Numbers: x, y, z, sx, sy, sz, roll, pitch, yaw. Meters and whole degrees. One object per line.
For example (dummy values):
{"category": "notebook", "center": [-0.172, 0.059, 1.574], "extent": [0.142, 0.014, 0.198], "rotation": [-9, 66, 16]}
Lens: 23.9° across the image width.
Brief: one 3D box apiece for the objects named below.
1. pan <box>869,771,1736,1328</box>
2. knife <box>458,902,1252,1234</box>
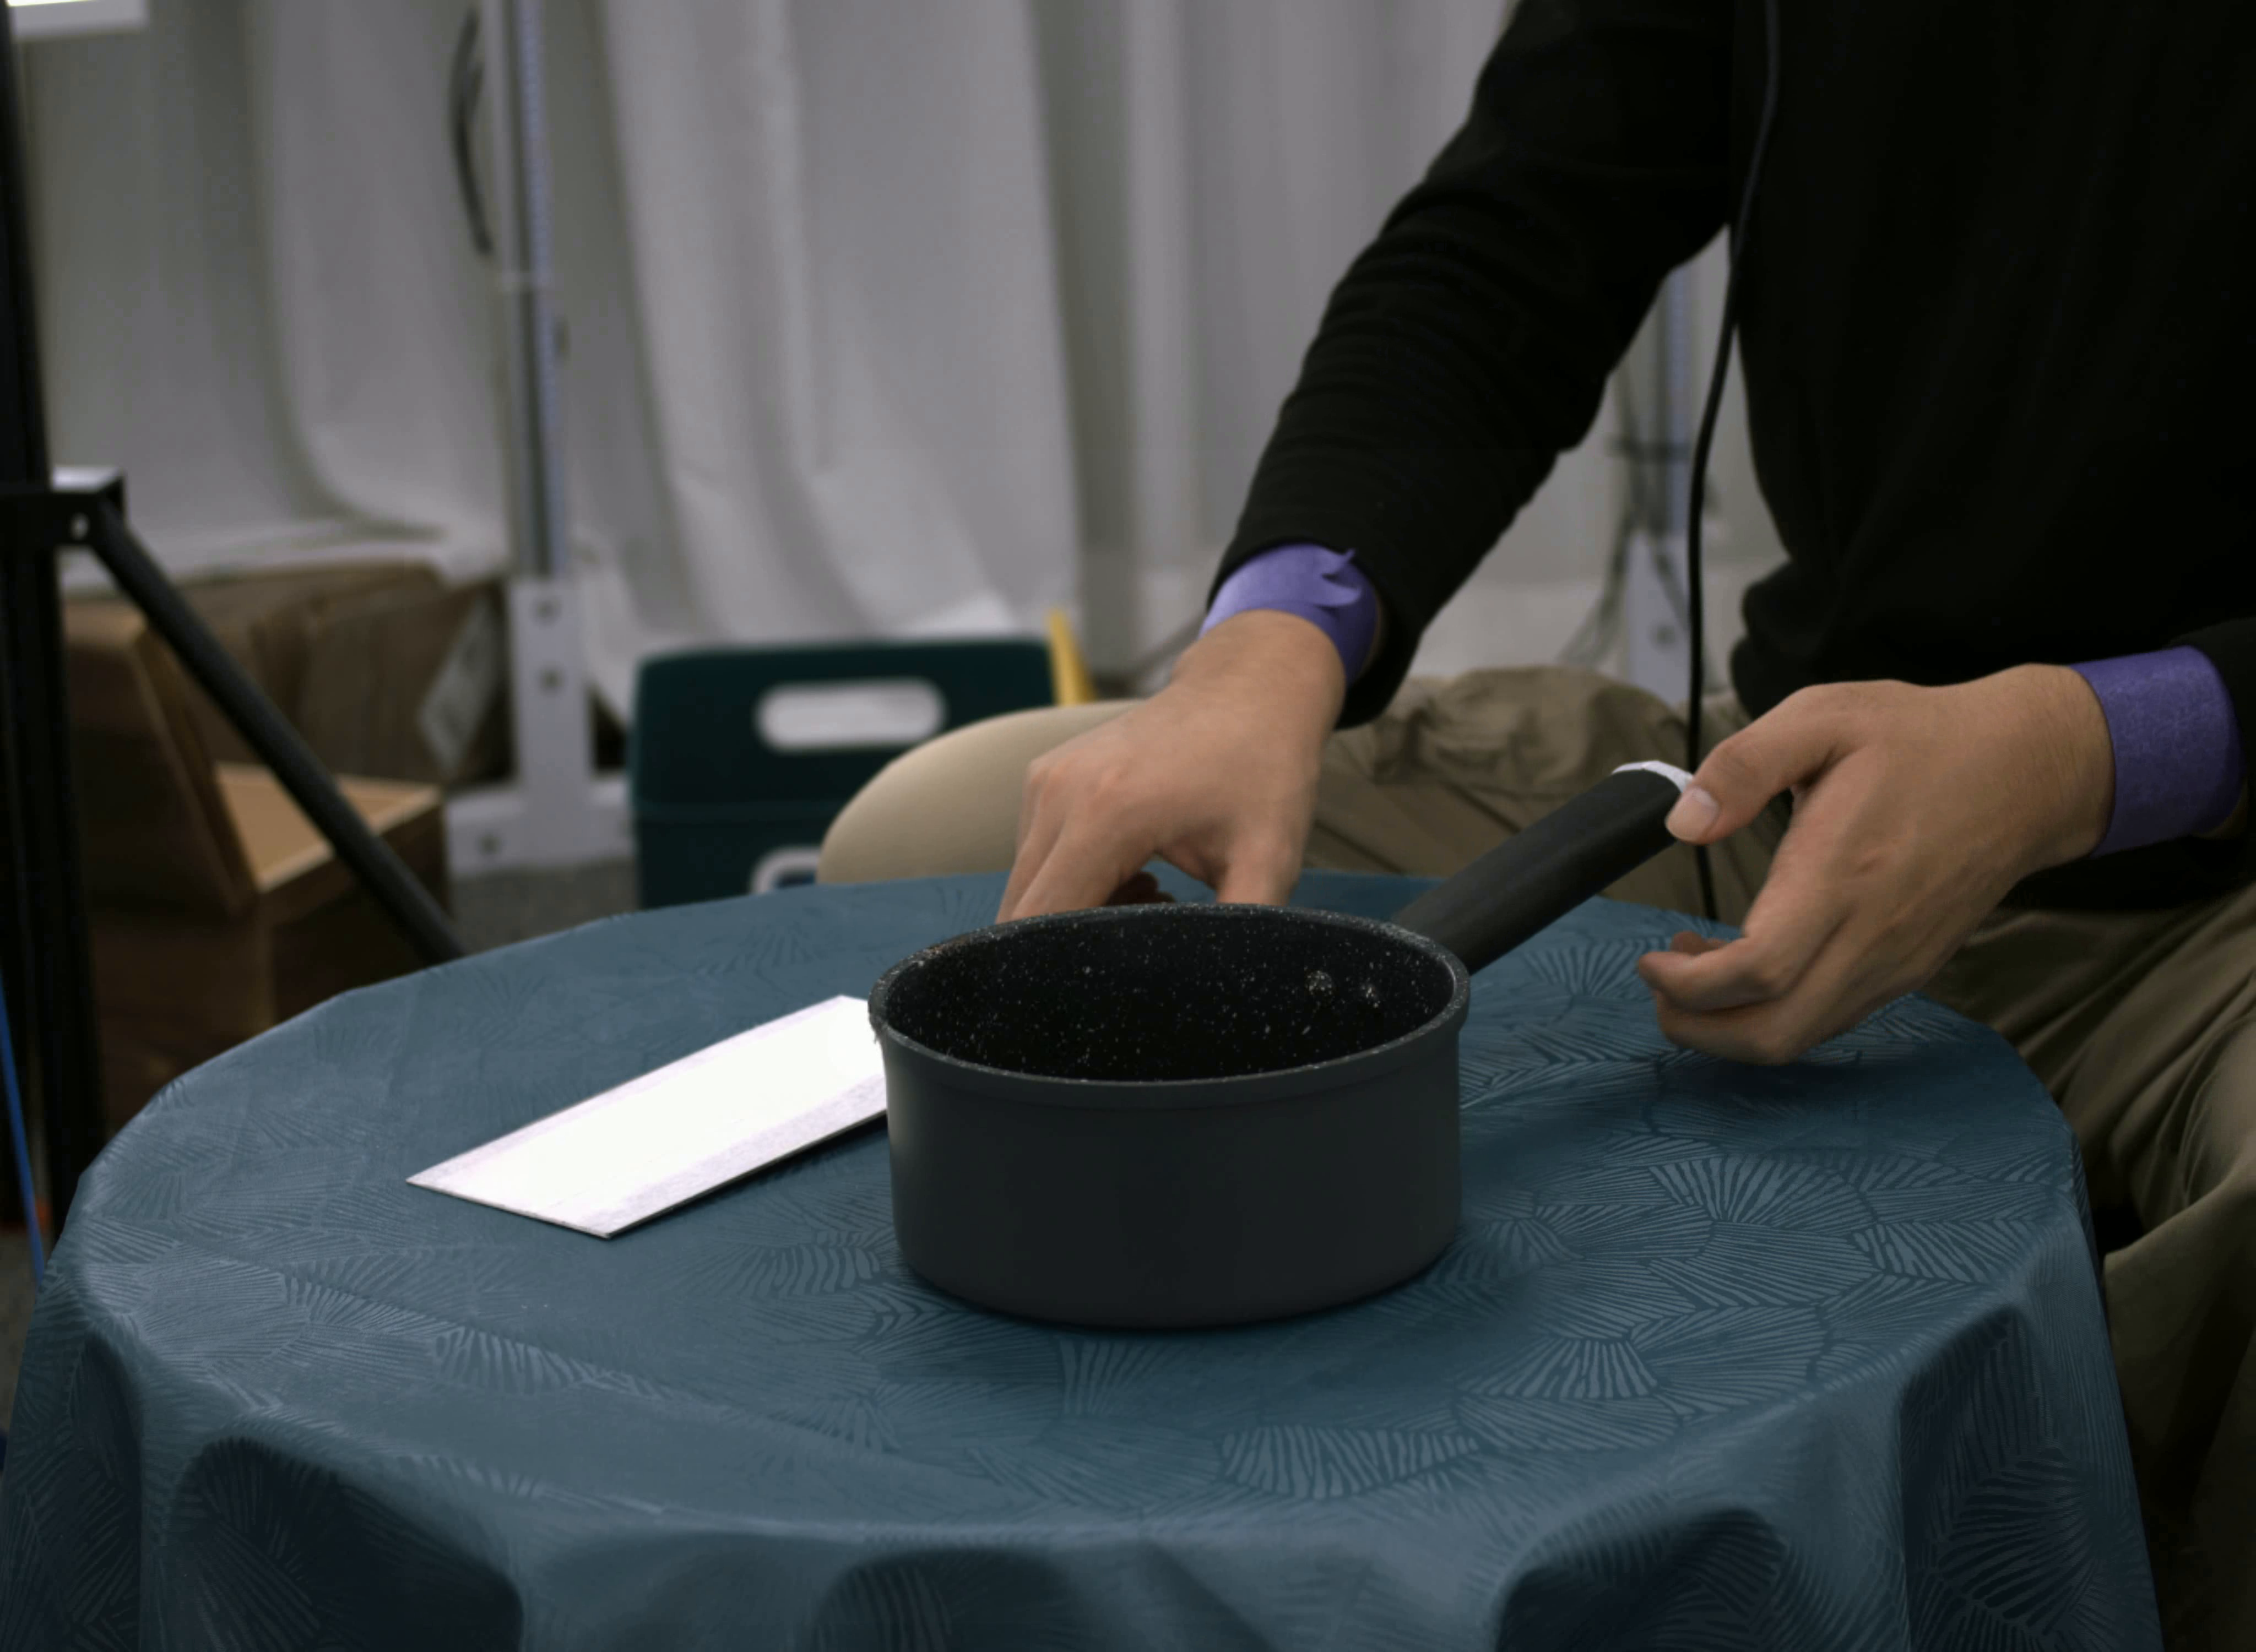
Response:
{"category": "pan", "center": [0.067, 0.062, 1.558], "extent": [0.176, 0.086, 0.321], "rotation": [13, 23, 43]}
{"category": "knife", "center": [-0.083, 0.072, 1.668], "extent": [0.095, 0.021, 0.299], "rotation": [10, 23, 41]}
